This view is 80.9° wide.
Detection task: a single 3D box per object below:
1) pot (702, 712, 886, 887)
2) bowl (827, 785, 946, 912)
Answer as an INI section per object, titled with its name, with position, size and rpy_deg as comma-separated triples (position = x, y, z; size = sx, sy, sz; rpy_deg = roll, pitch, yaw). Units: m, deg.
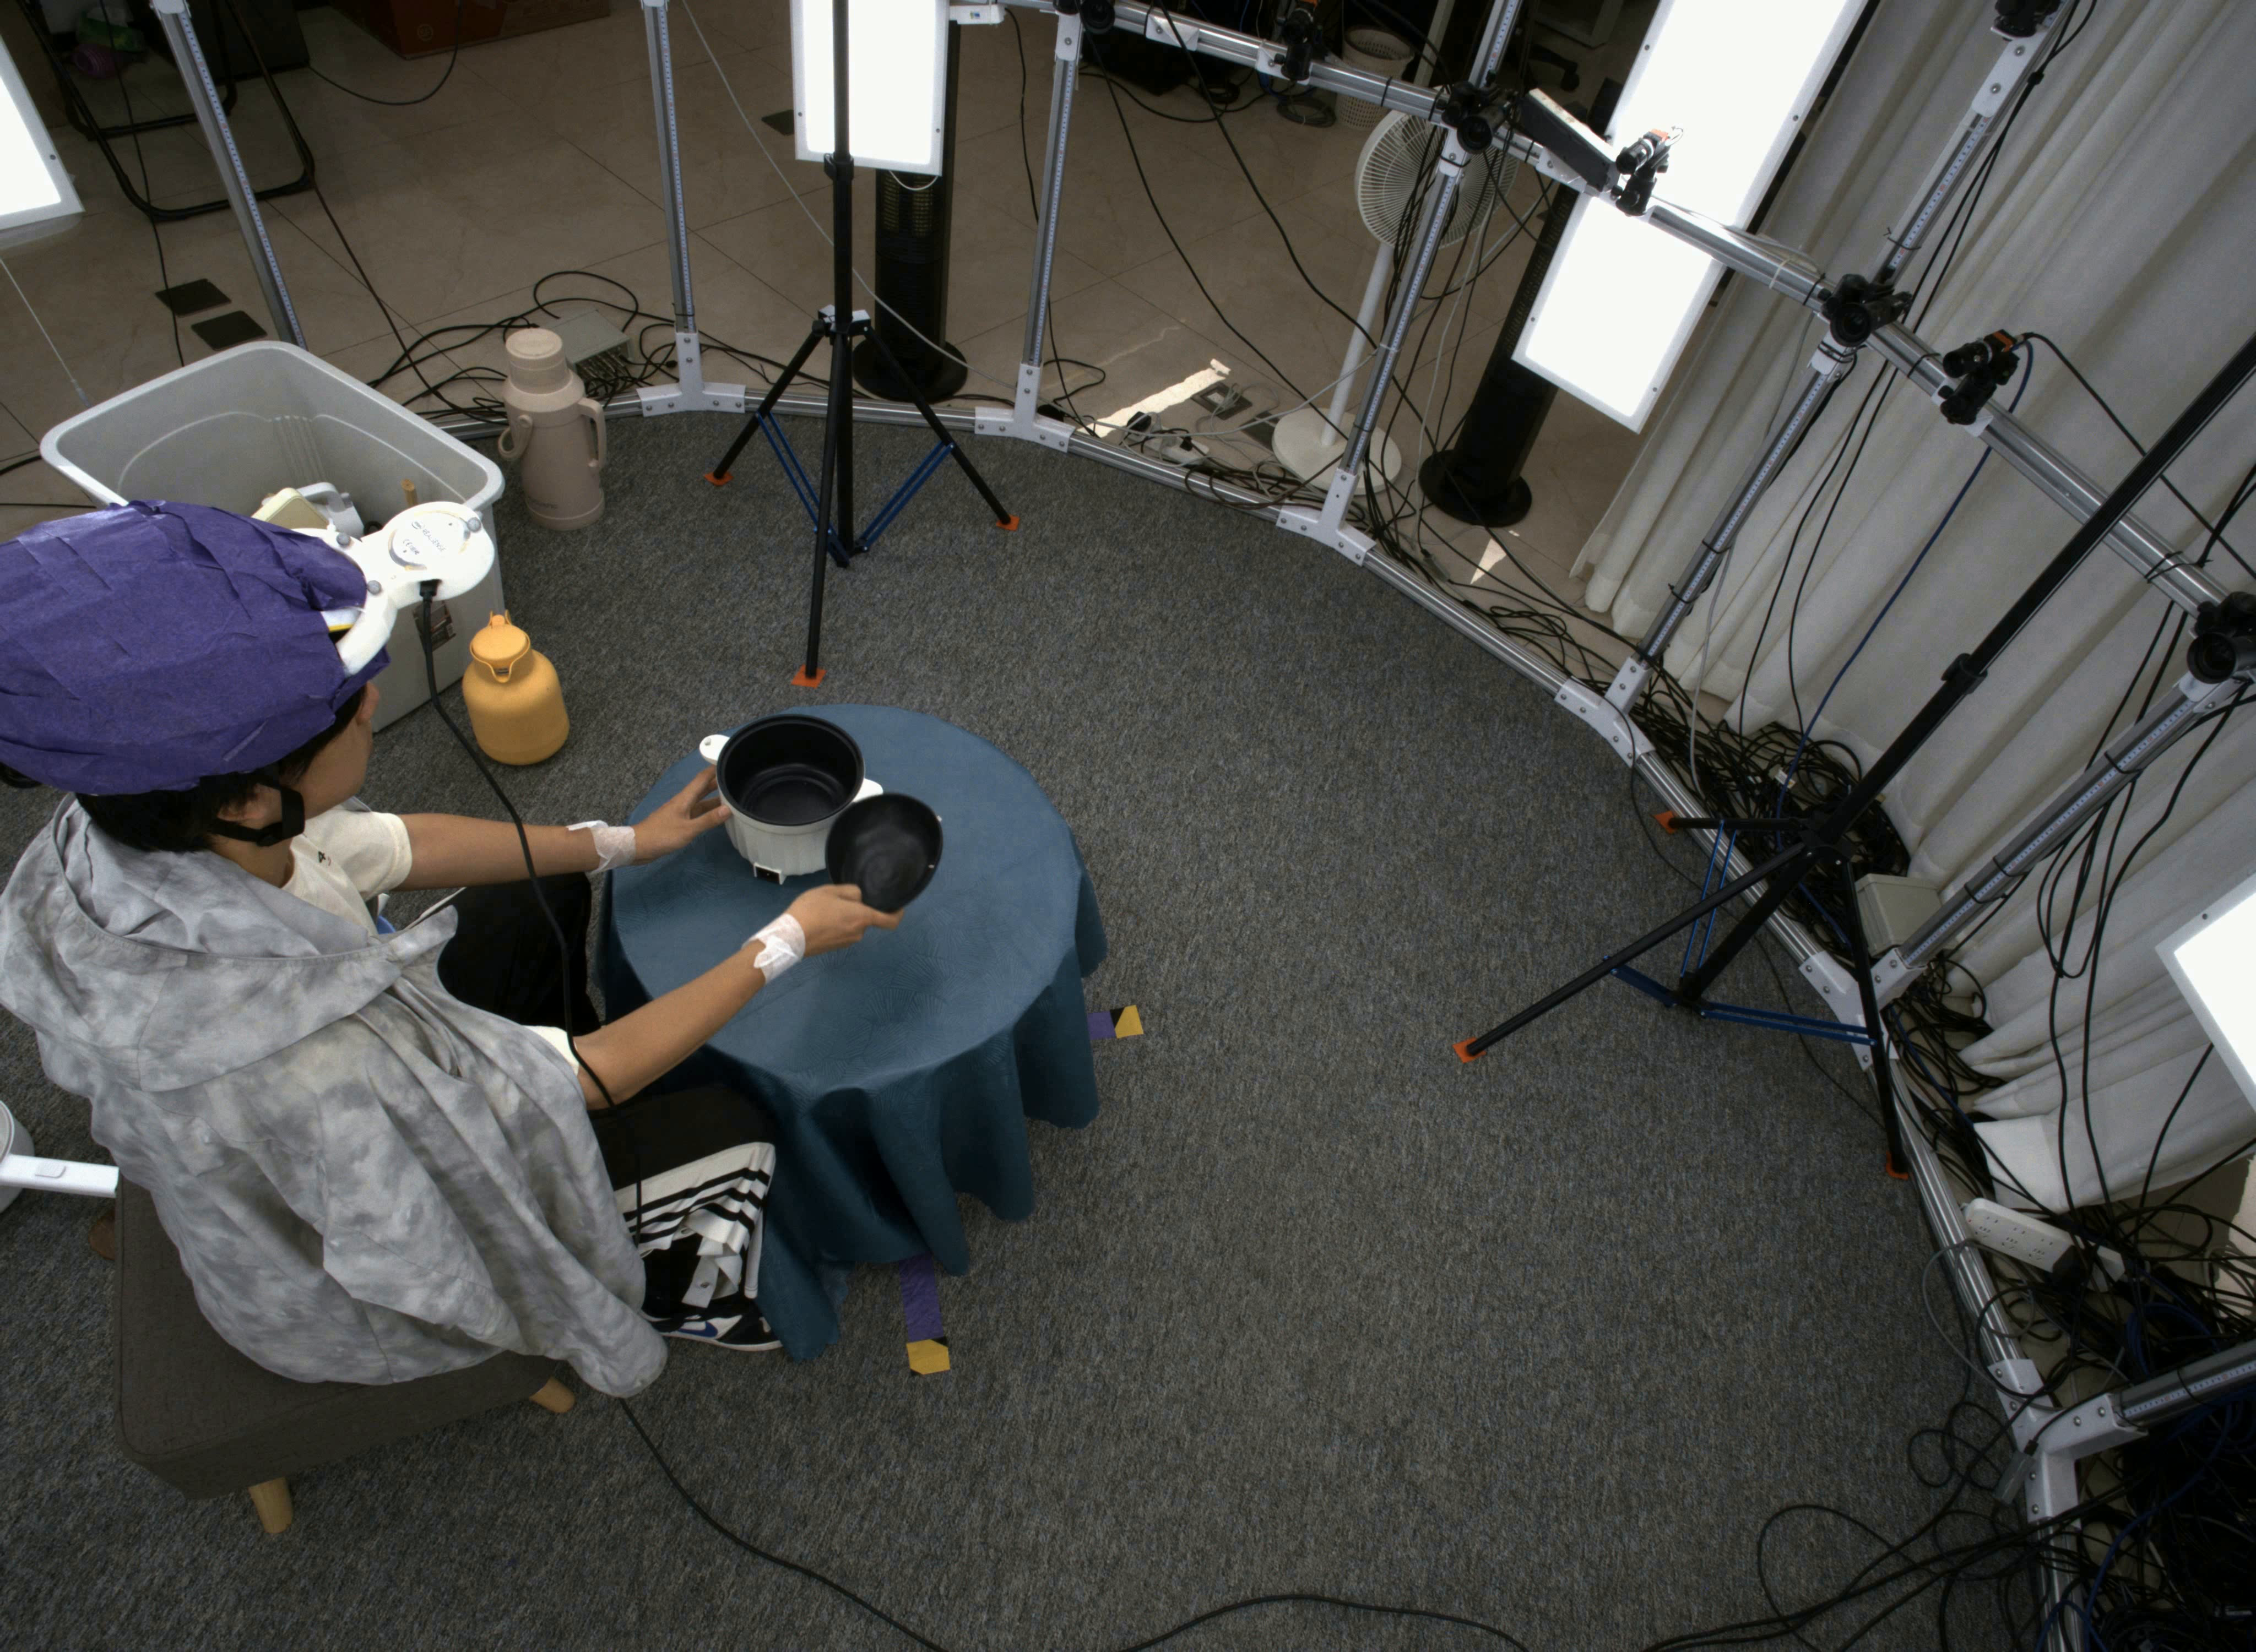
[pot]
position = -0.424, -0.037, 1.665
size = 0.238, 0.145, 0.188
rpy_deg = 17, 55, -1
[bowl]
position = -0.285, 0.035, 1.548
size = 0.136, 0.068, 0.168
rpy_deg = 7, 56, -1
